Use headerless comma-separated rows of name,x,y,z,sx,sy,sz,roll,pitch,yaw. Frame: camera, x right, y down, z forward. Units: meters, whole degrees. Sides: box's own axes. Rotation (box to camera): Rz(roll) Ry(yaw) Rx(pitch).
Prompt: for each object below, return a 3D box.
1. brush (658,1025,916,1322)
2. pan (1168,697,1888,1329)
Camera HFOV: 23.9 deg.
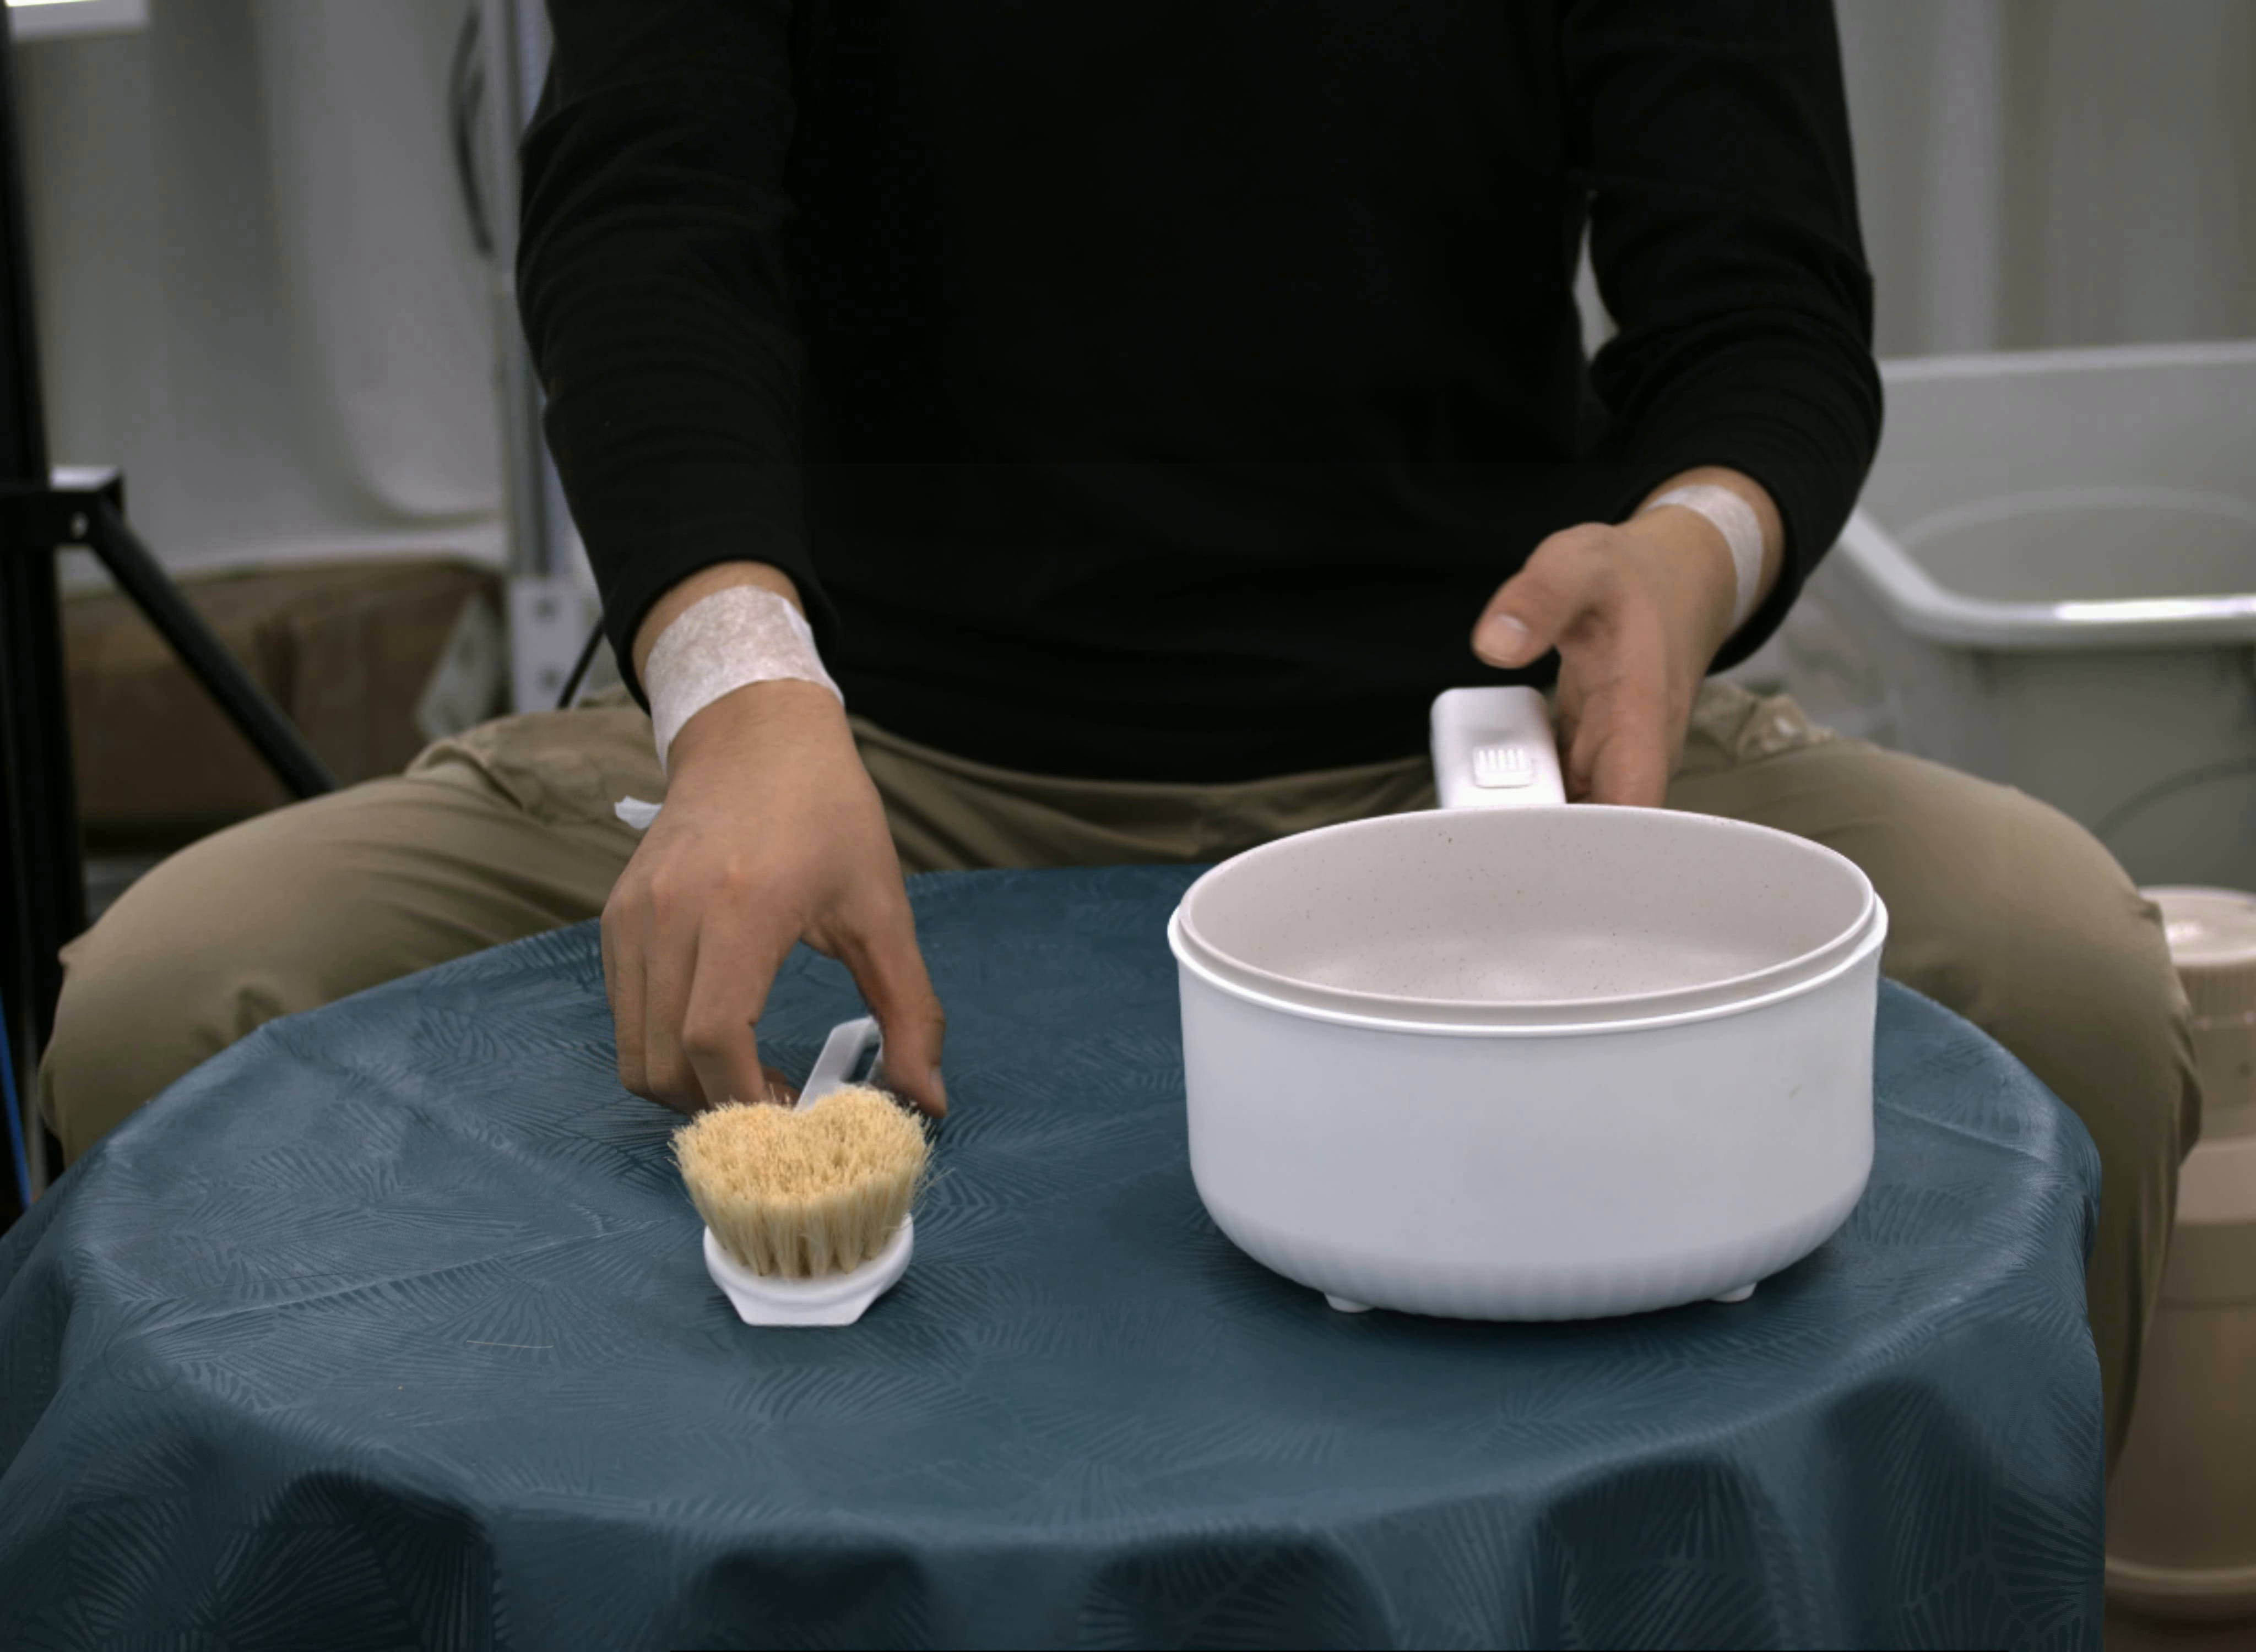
brush,-0.091,0.078,1.581,0.068,0.056,0.266,4,15,3
pan,0.115,0.050,1.566,0.201,0.102,0.355,-3,15,3
